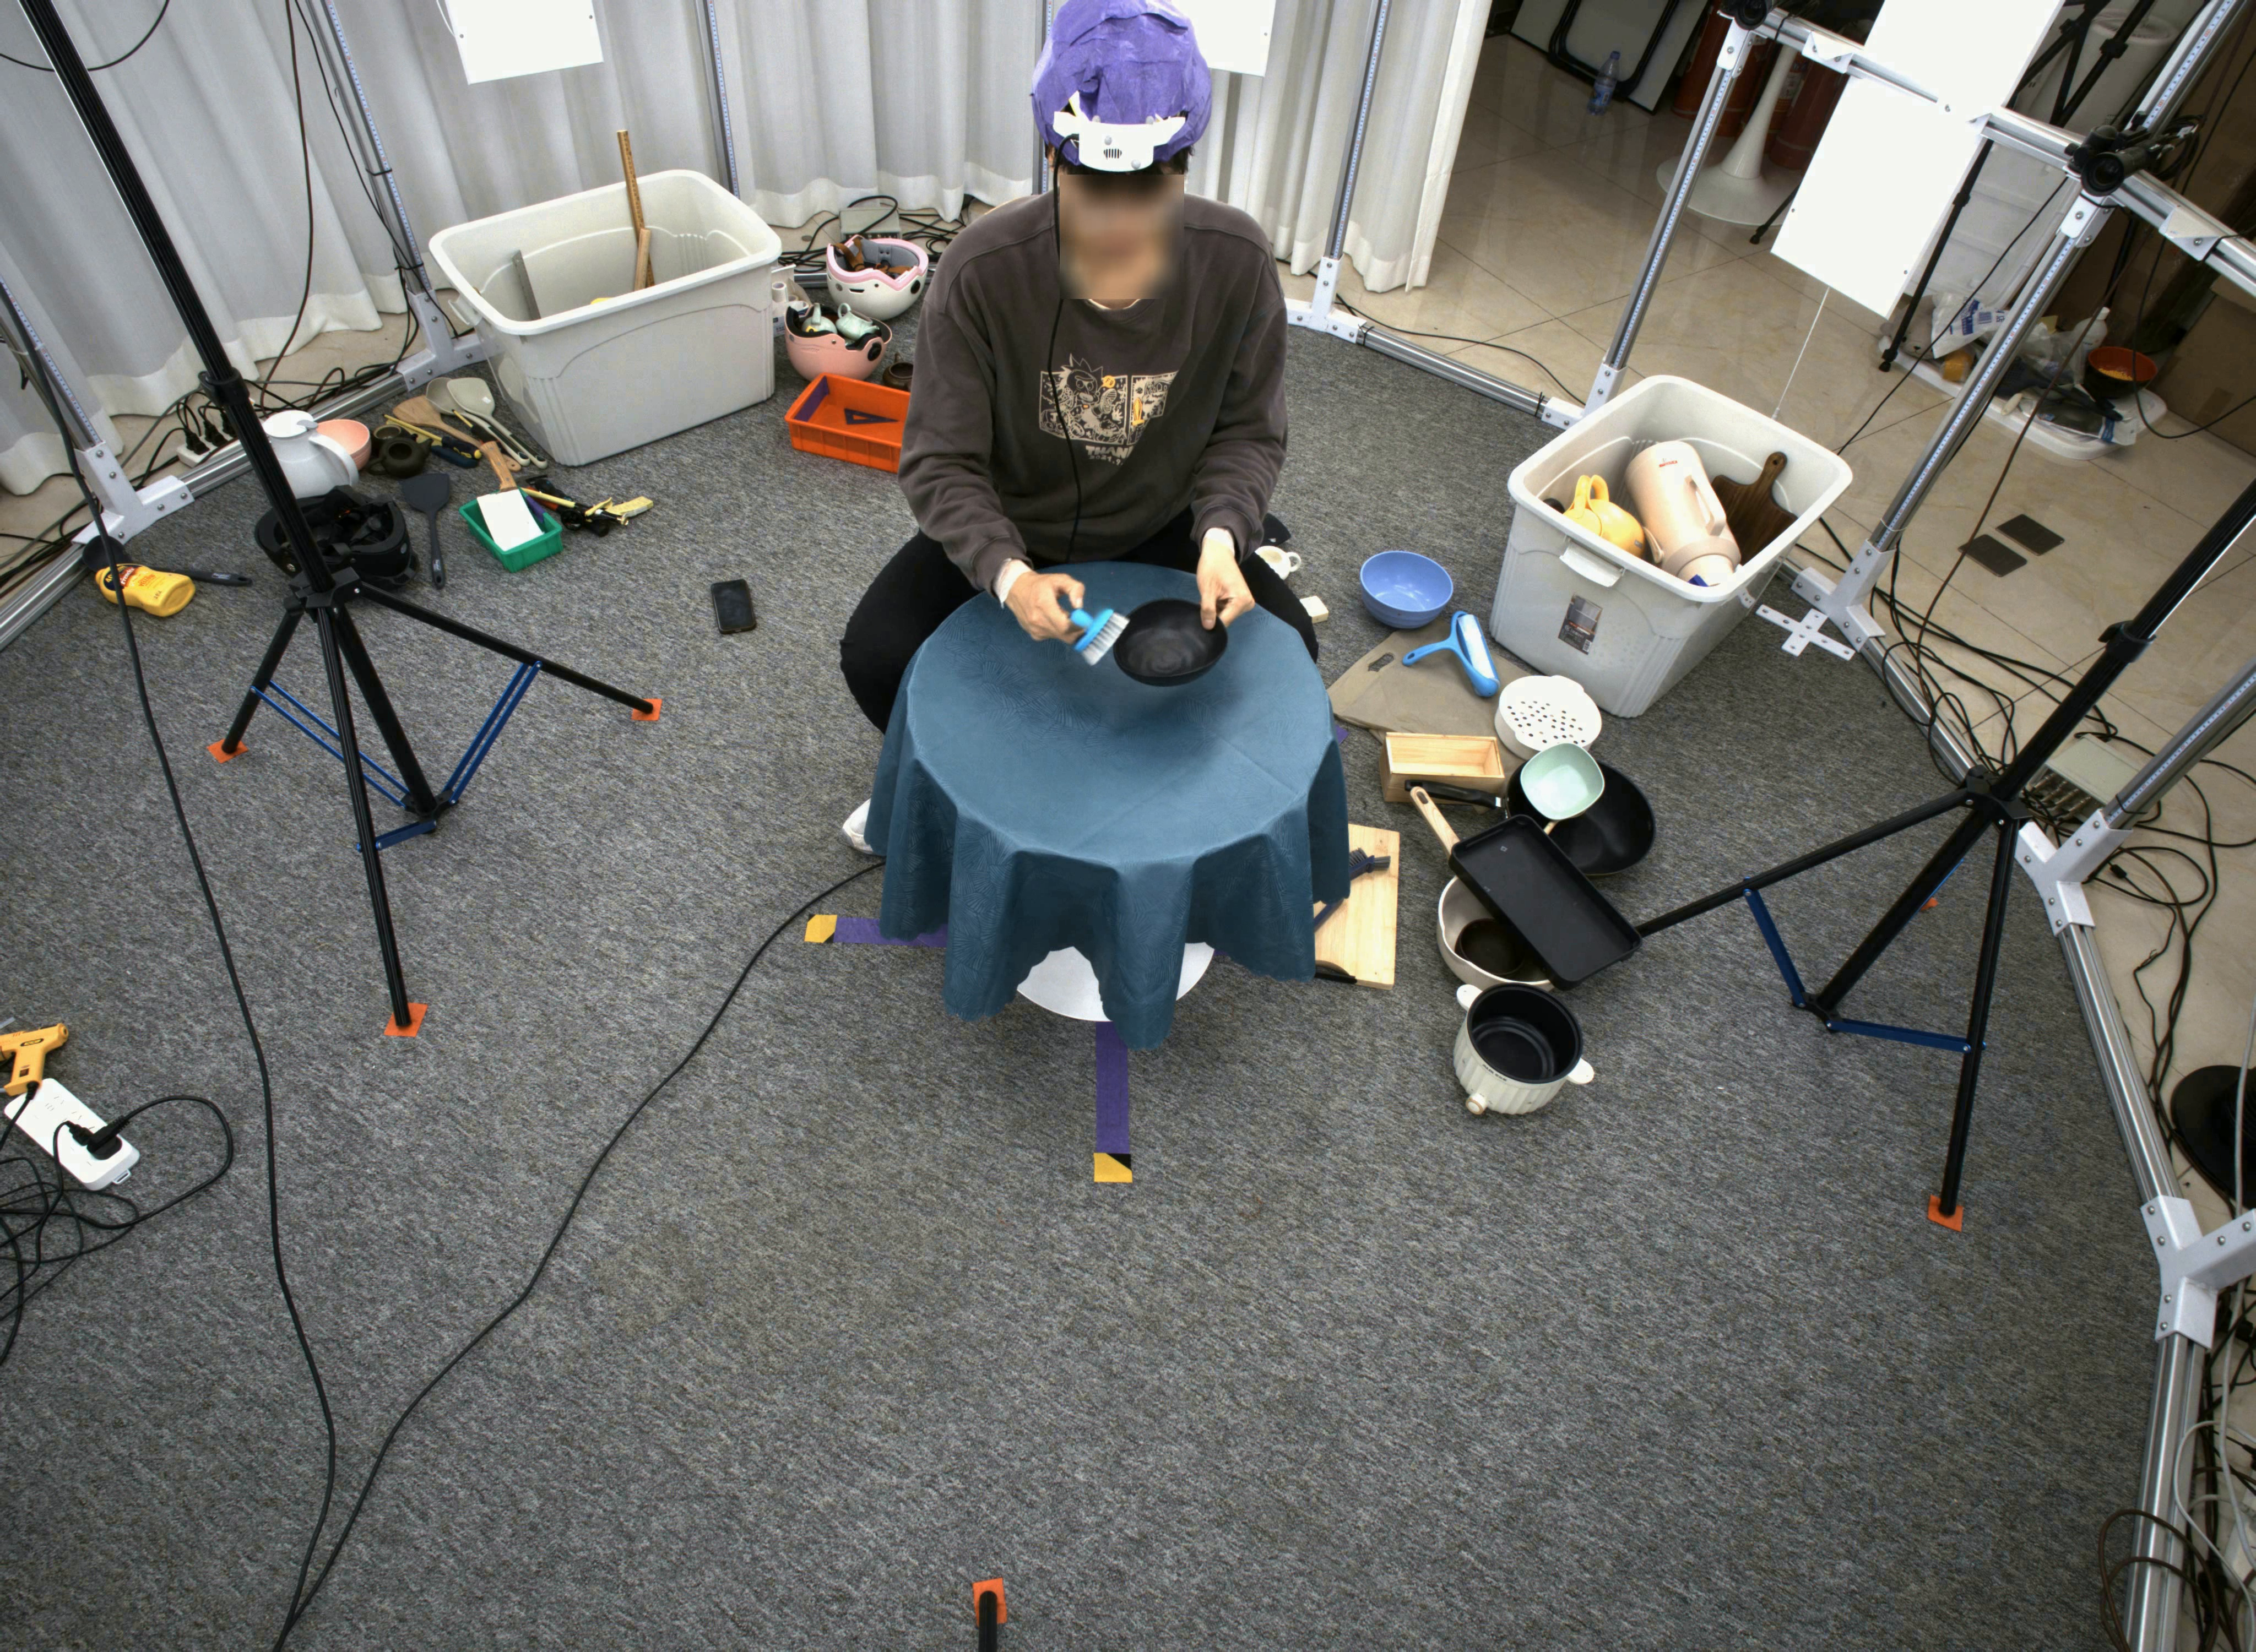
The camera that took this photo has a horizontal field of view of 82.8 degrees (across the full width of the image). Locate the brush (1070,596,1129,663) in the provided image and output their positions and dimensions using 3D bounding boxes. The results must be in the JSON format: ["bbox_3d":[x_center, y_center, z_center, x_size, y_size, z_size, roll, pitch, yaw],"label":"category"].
[{"bbox_3d":[-0.046,-0.274,1.725,0.063,0.084,0.143,32,8,-10],"label":"brush"}]

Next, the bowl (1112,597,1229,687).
[{"bbox_3d":[0.055,-0.239,1.755,0.171,0.065,0.139,-29,61,-27],"label":"bowl"}]
